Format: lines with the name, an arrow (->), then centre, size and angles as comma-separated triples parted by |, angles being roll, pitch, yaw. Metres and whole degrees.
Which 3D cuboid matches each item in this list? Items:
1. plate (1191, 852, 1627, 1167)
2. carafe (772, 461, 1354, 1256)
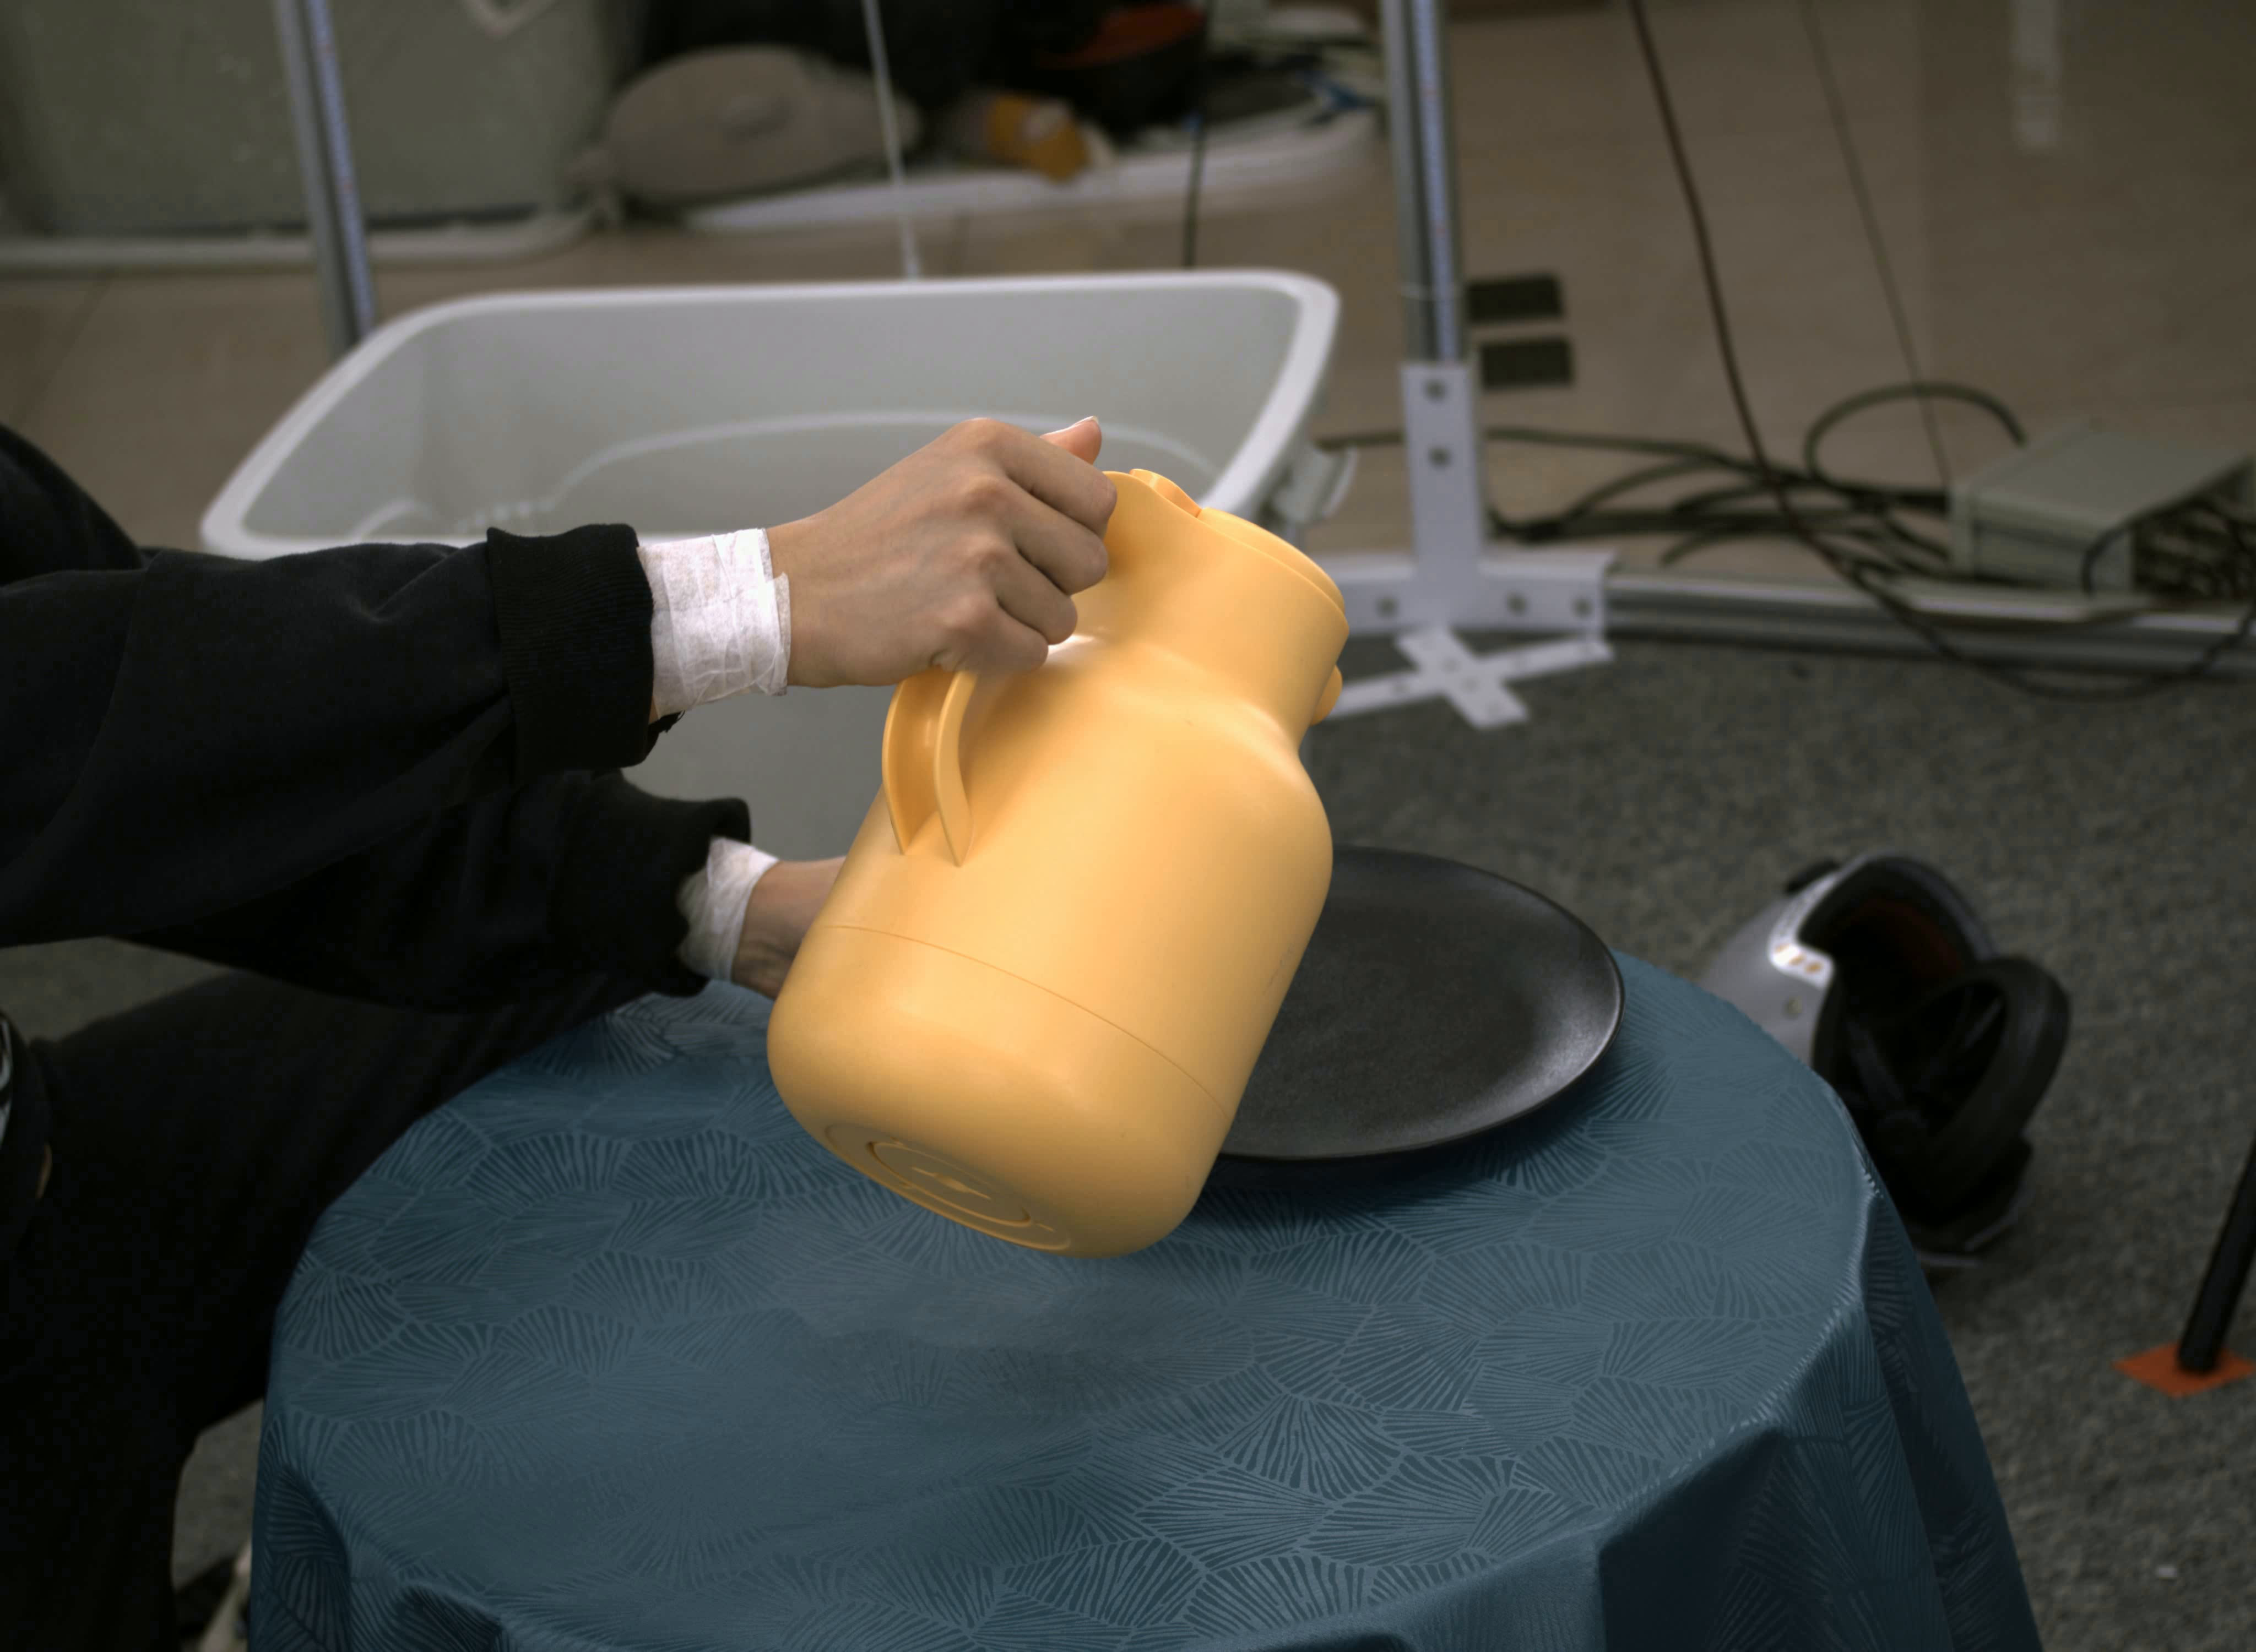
plate -> 0.073, 0.076, 2.220 | 0.244, 0.024, 0.240 | -2, 29, 1
carafe -> -0.021, 0.002, 1.989 | 0.162, 0.205, 0.258 | 10, 69, 40
